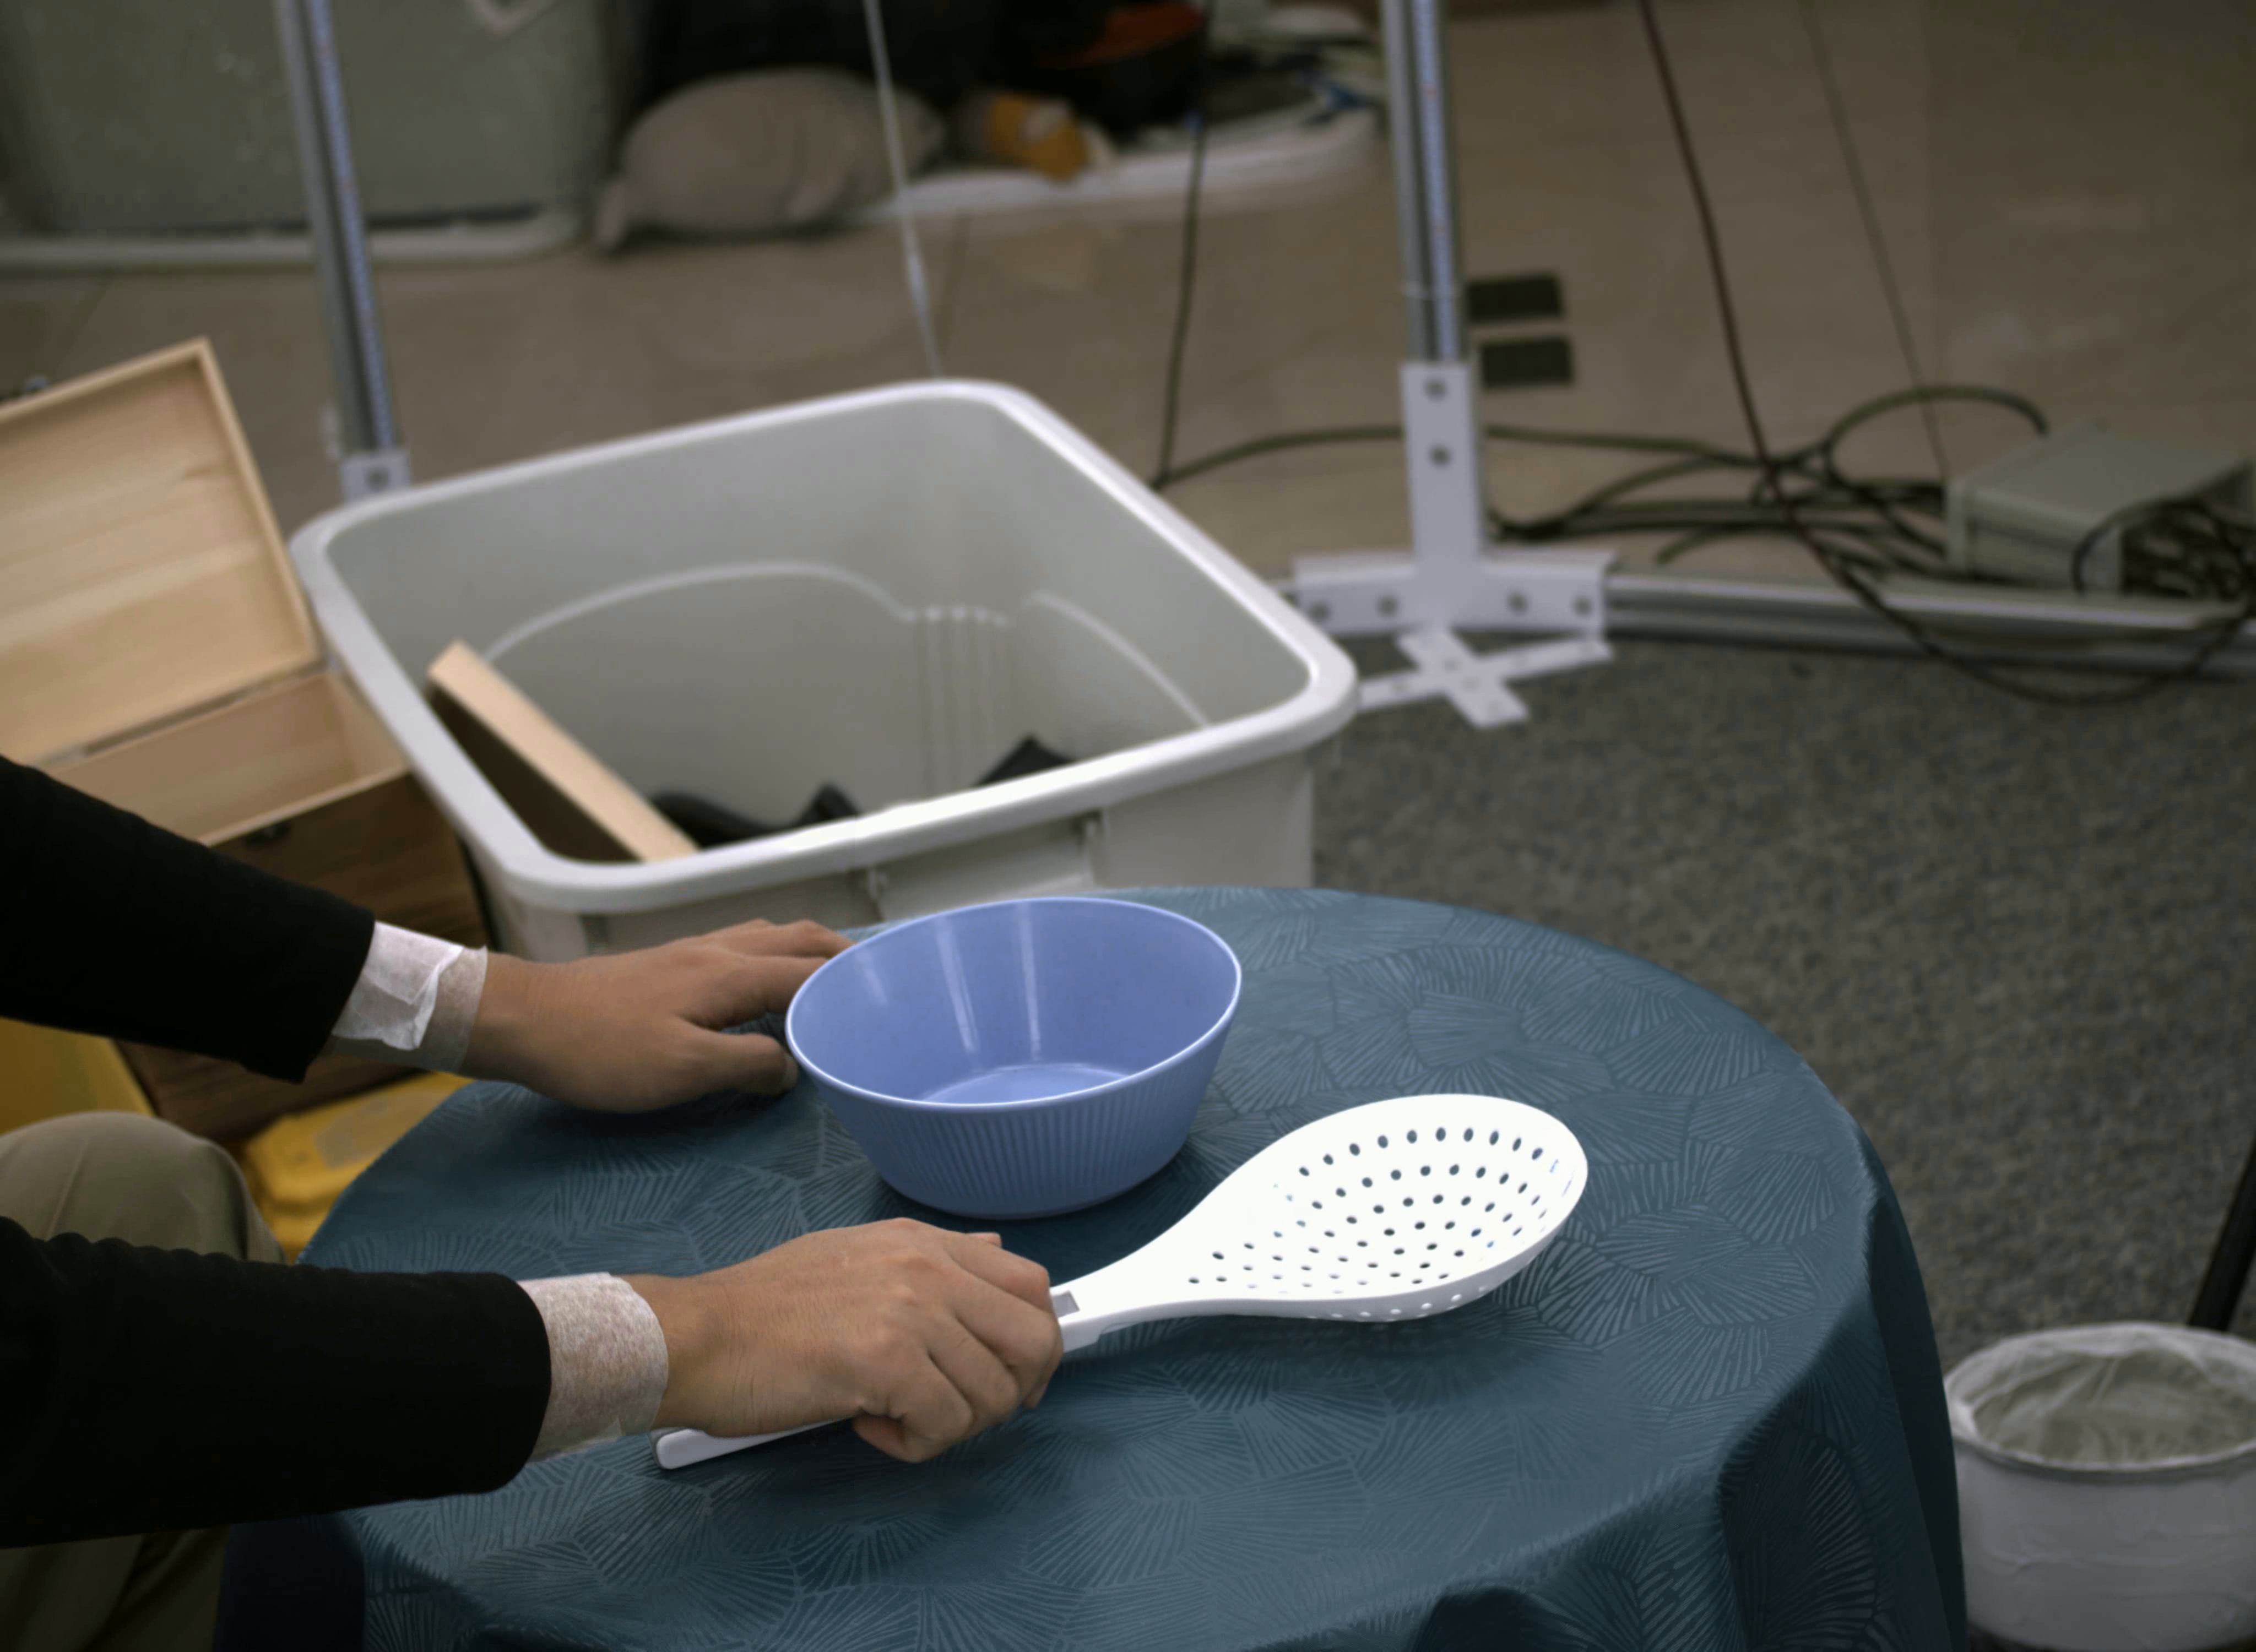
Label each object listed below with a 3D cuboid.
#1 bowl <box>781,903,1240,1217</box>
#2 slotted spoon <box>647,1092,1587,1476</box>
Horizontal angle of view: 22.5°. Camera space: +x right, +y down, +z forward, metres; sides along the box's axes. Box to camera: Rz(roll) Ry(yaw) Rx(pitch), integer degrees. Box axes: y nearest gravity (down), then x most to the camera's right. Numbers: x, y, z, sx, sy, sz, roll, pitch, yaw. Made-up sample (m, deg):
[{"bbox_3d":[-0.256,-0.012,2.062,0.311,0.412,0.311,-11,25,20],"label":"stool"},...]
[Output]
[{"bbox_3d":[-0.041,0.094,2.169,0.176,0.071,0.173,-6,24,3],"label":"bowl"},{"bbox_3d":[-0.003,0.169,2.029,0.349,0.046,0.134,-13,27,-11],"label":"slotted spoon"}]
